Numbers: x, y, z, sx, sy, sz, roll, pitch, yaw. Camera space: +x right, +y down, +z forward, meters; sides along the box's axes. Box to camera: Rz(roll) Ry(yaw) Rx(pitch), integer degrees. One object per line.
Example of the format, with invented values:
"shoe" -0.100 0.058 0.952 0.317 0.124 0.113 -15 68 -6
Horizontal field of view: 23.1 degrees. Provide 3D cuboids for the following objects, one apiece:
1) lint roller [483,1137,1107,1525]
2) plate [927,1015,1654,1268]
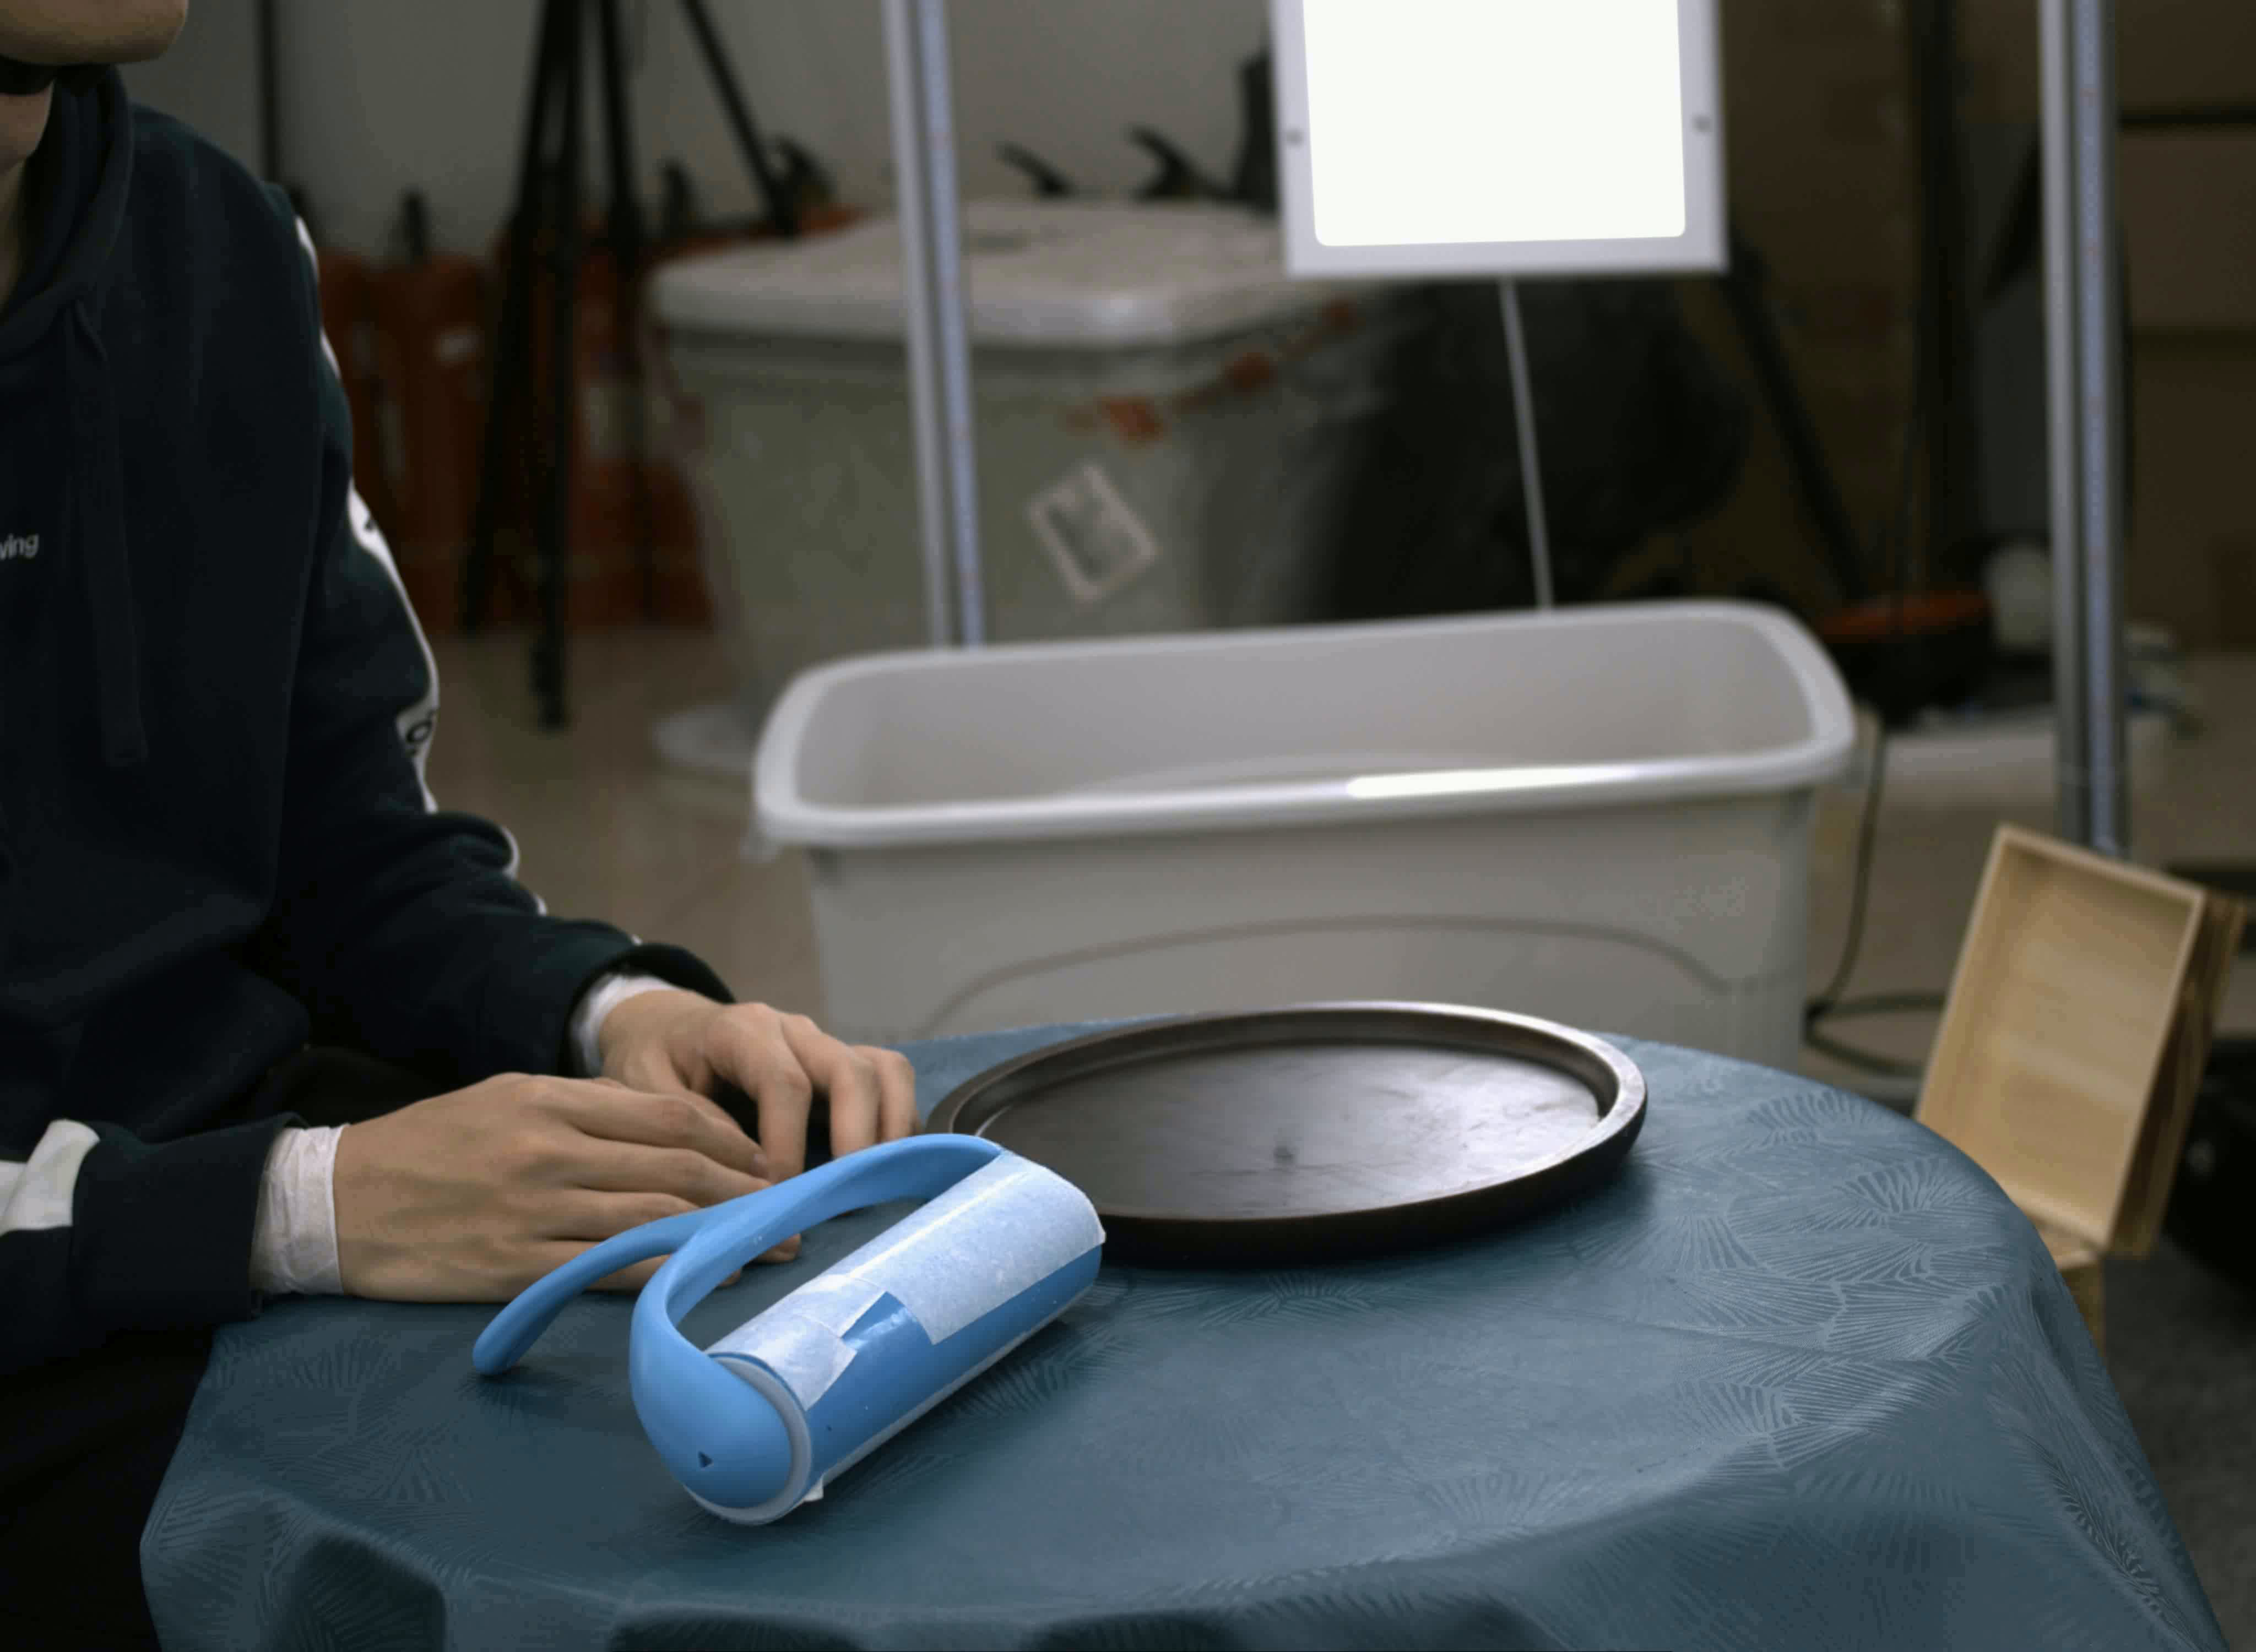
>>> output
"lint roller" -0.125 0.152 1.717 0.183 0.068 0.224 2 17 24
"plate" 0.056 0.107 1.908 0.254 0.029 0.254 -4 14 0
